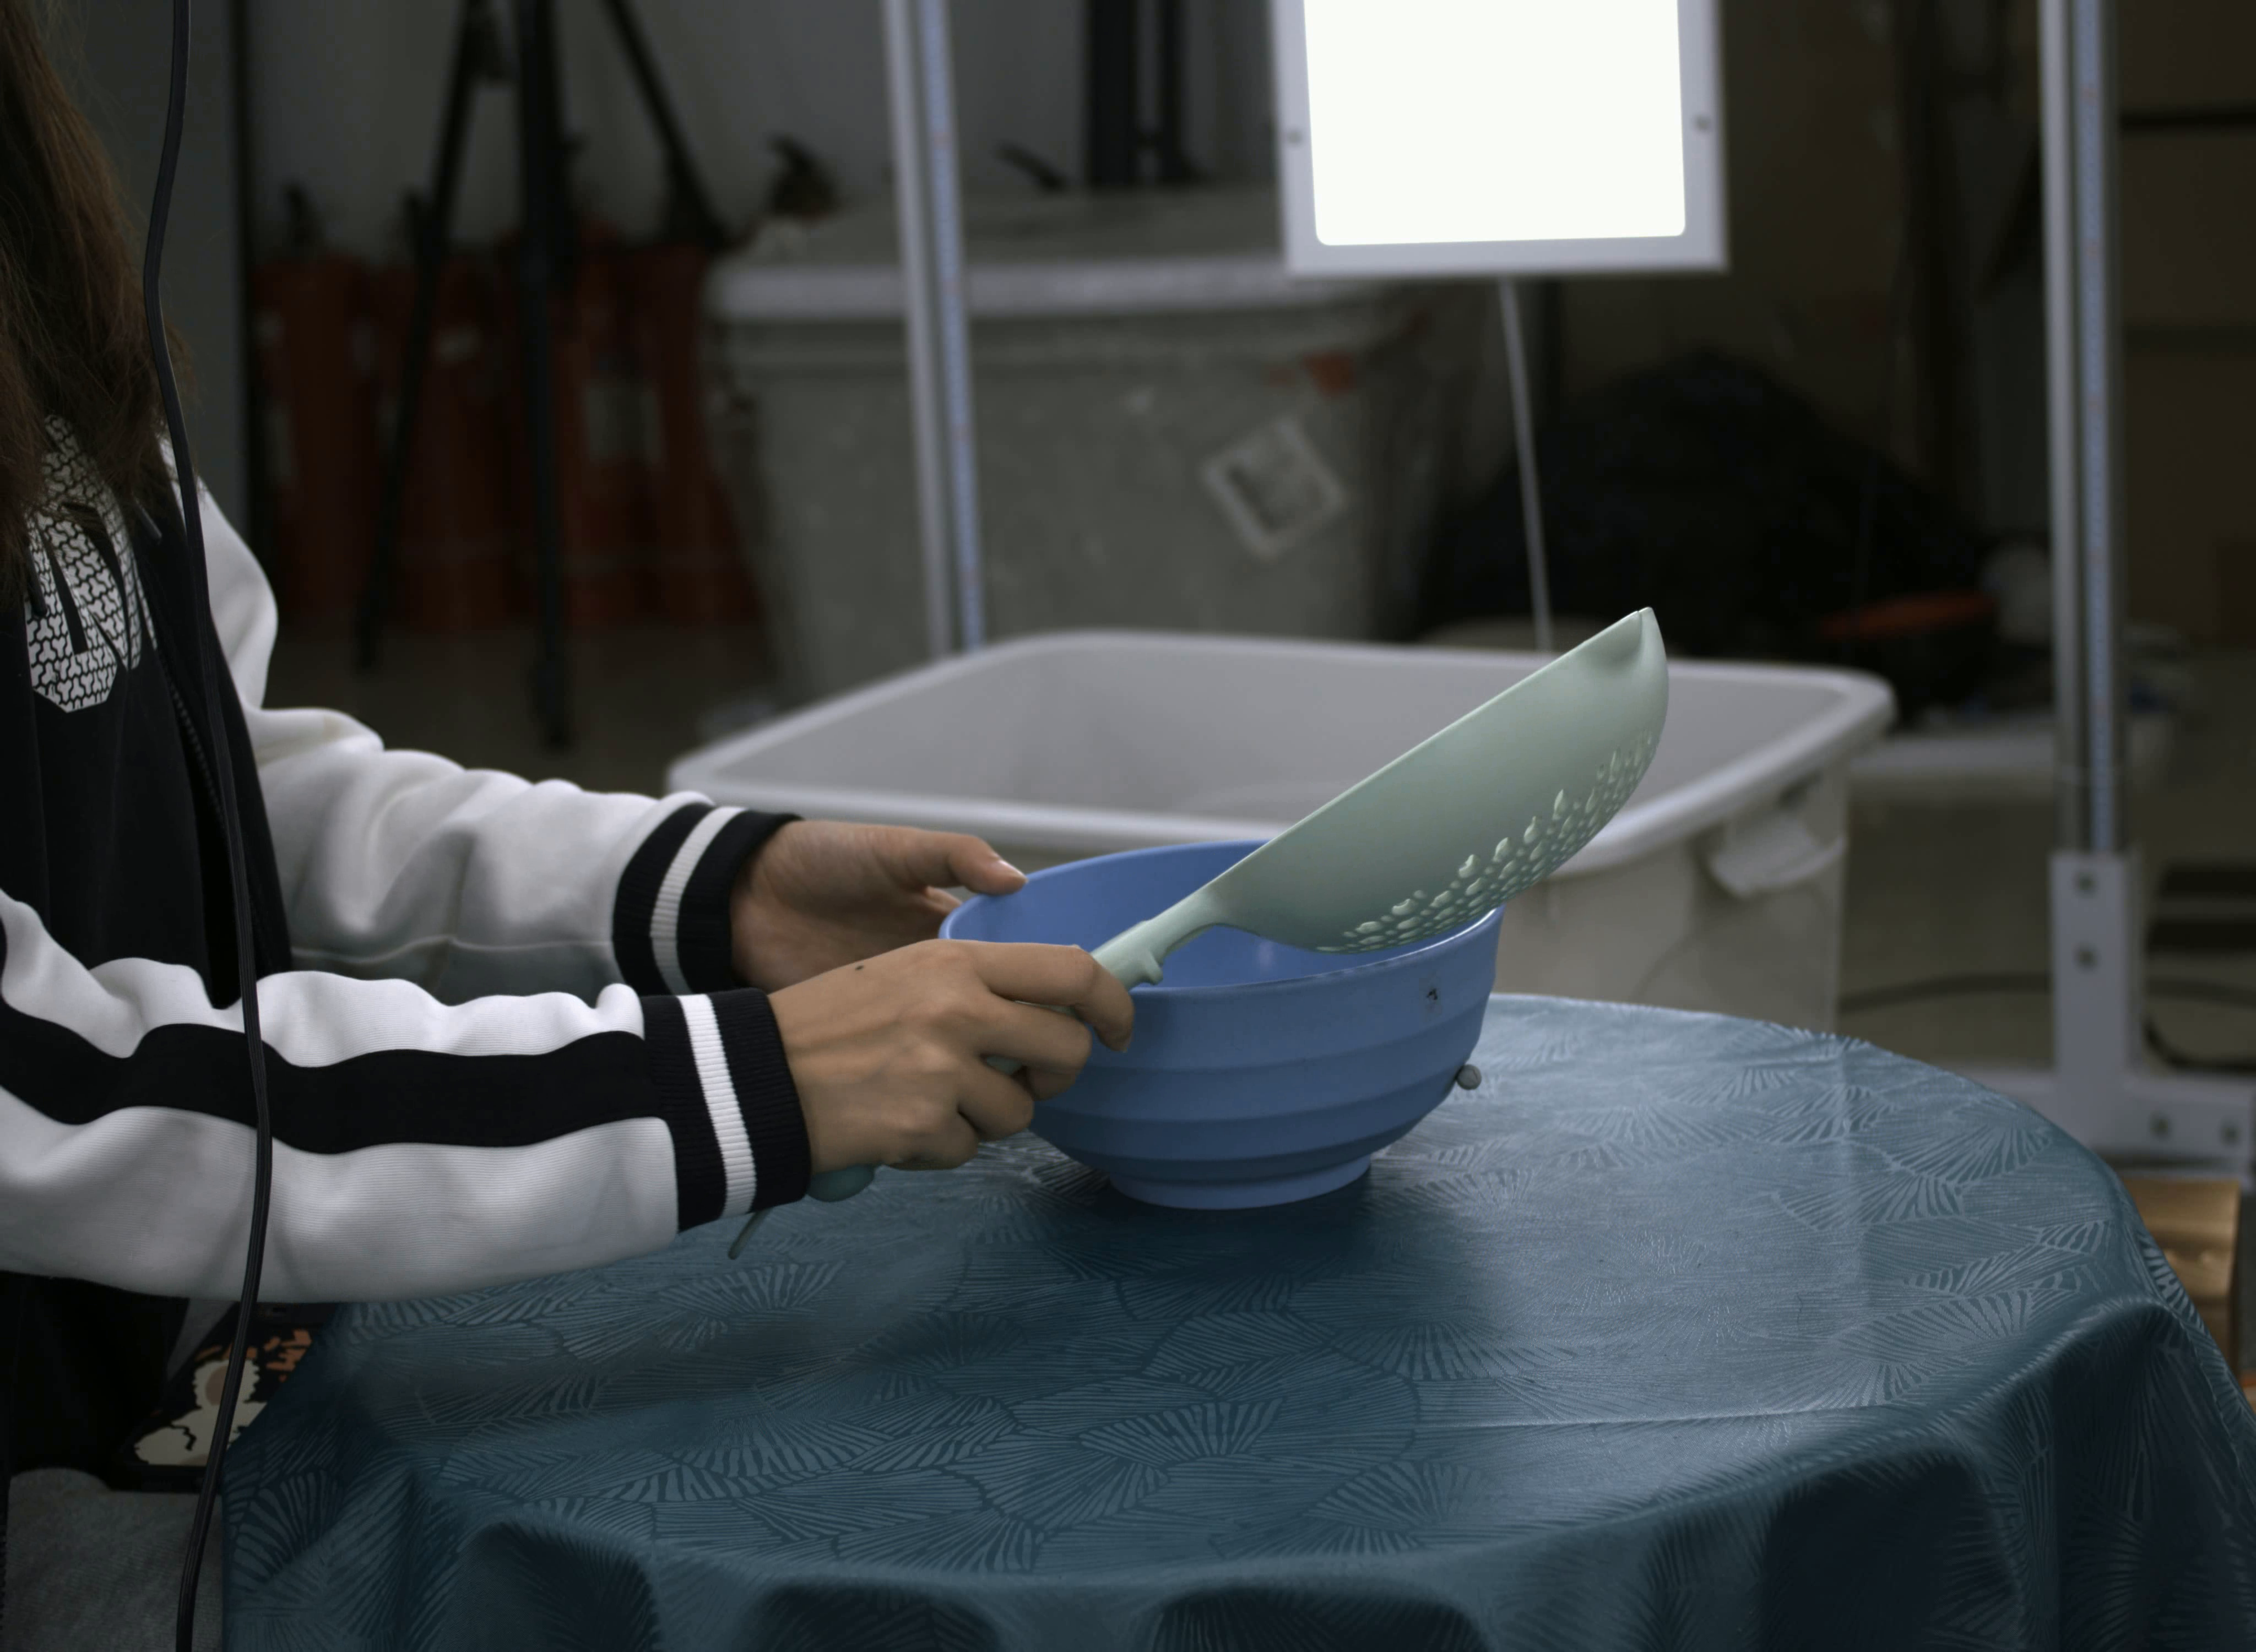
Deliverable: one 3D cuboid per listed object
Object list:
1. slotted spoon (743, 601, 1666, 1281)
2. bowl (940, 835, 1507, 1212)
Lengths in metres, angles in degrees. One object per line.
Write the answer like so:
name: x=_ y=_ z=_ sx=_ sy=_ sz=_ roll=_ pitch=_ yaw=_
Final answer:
slotted spoon: x=0.023 y=0.037 z=1.780 sx=0.357 sy=0.075 sz=0.169 roll=-25 pitch=-3 yaw=-2
bowl: x=0.036 y=0.074 z=1.901 sx=0.196 sy=0.096 sz=0.196 roll=-5 pitch=14 yaw=0
